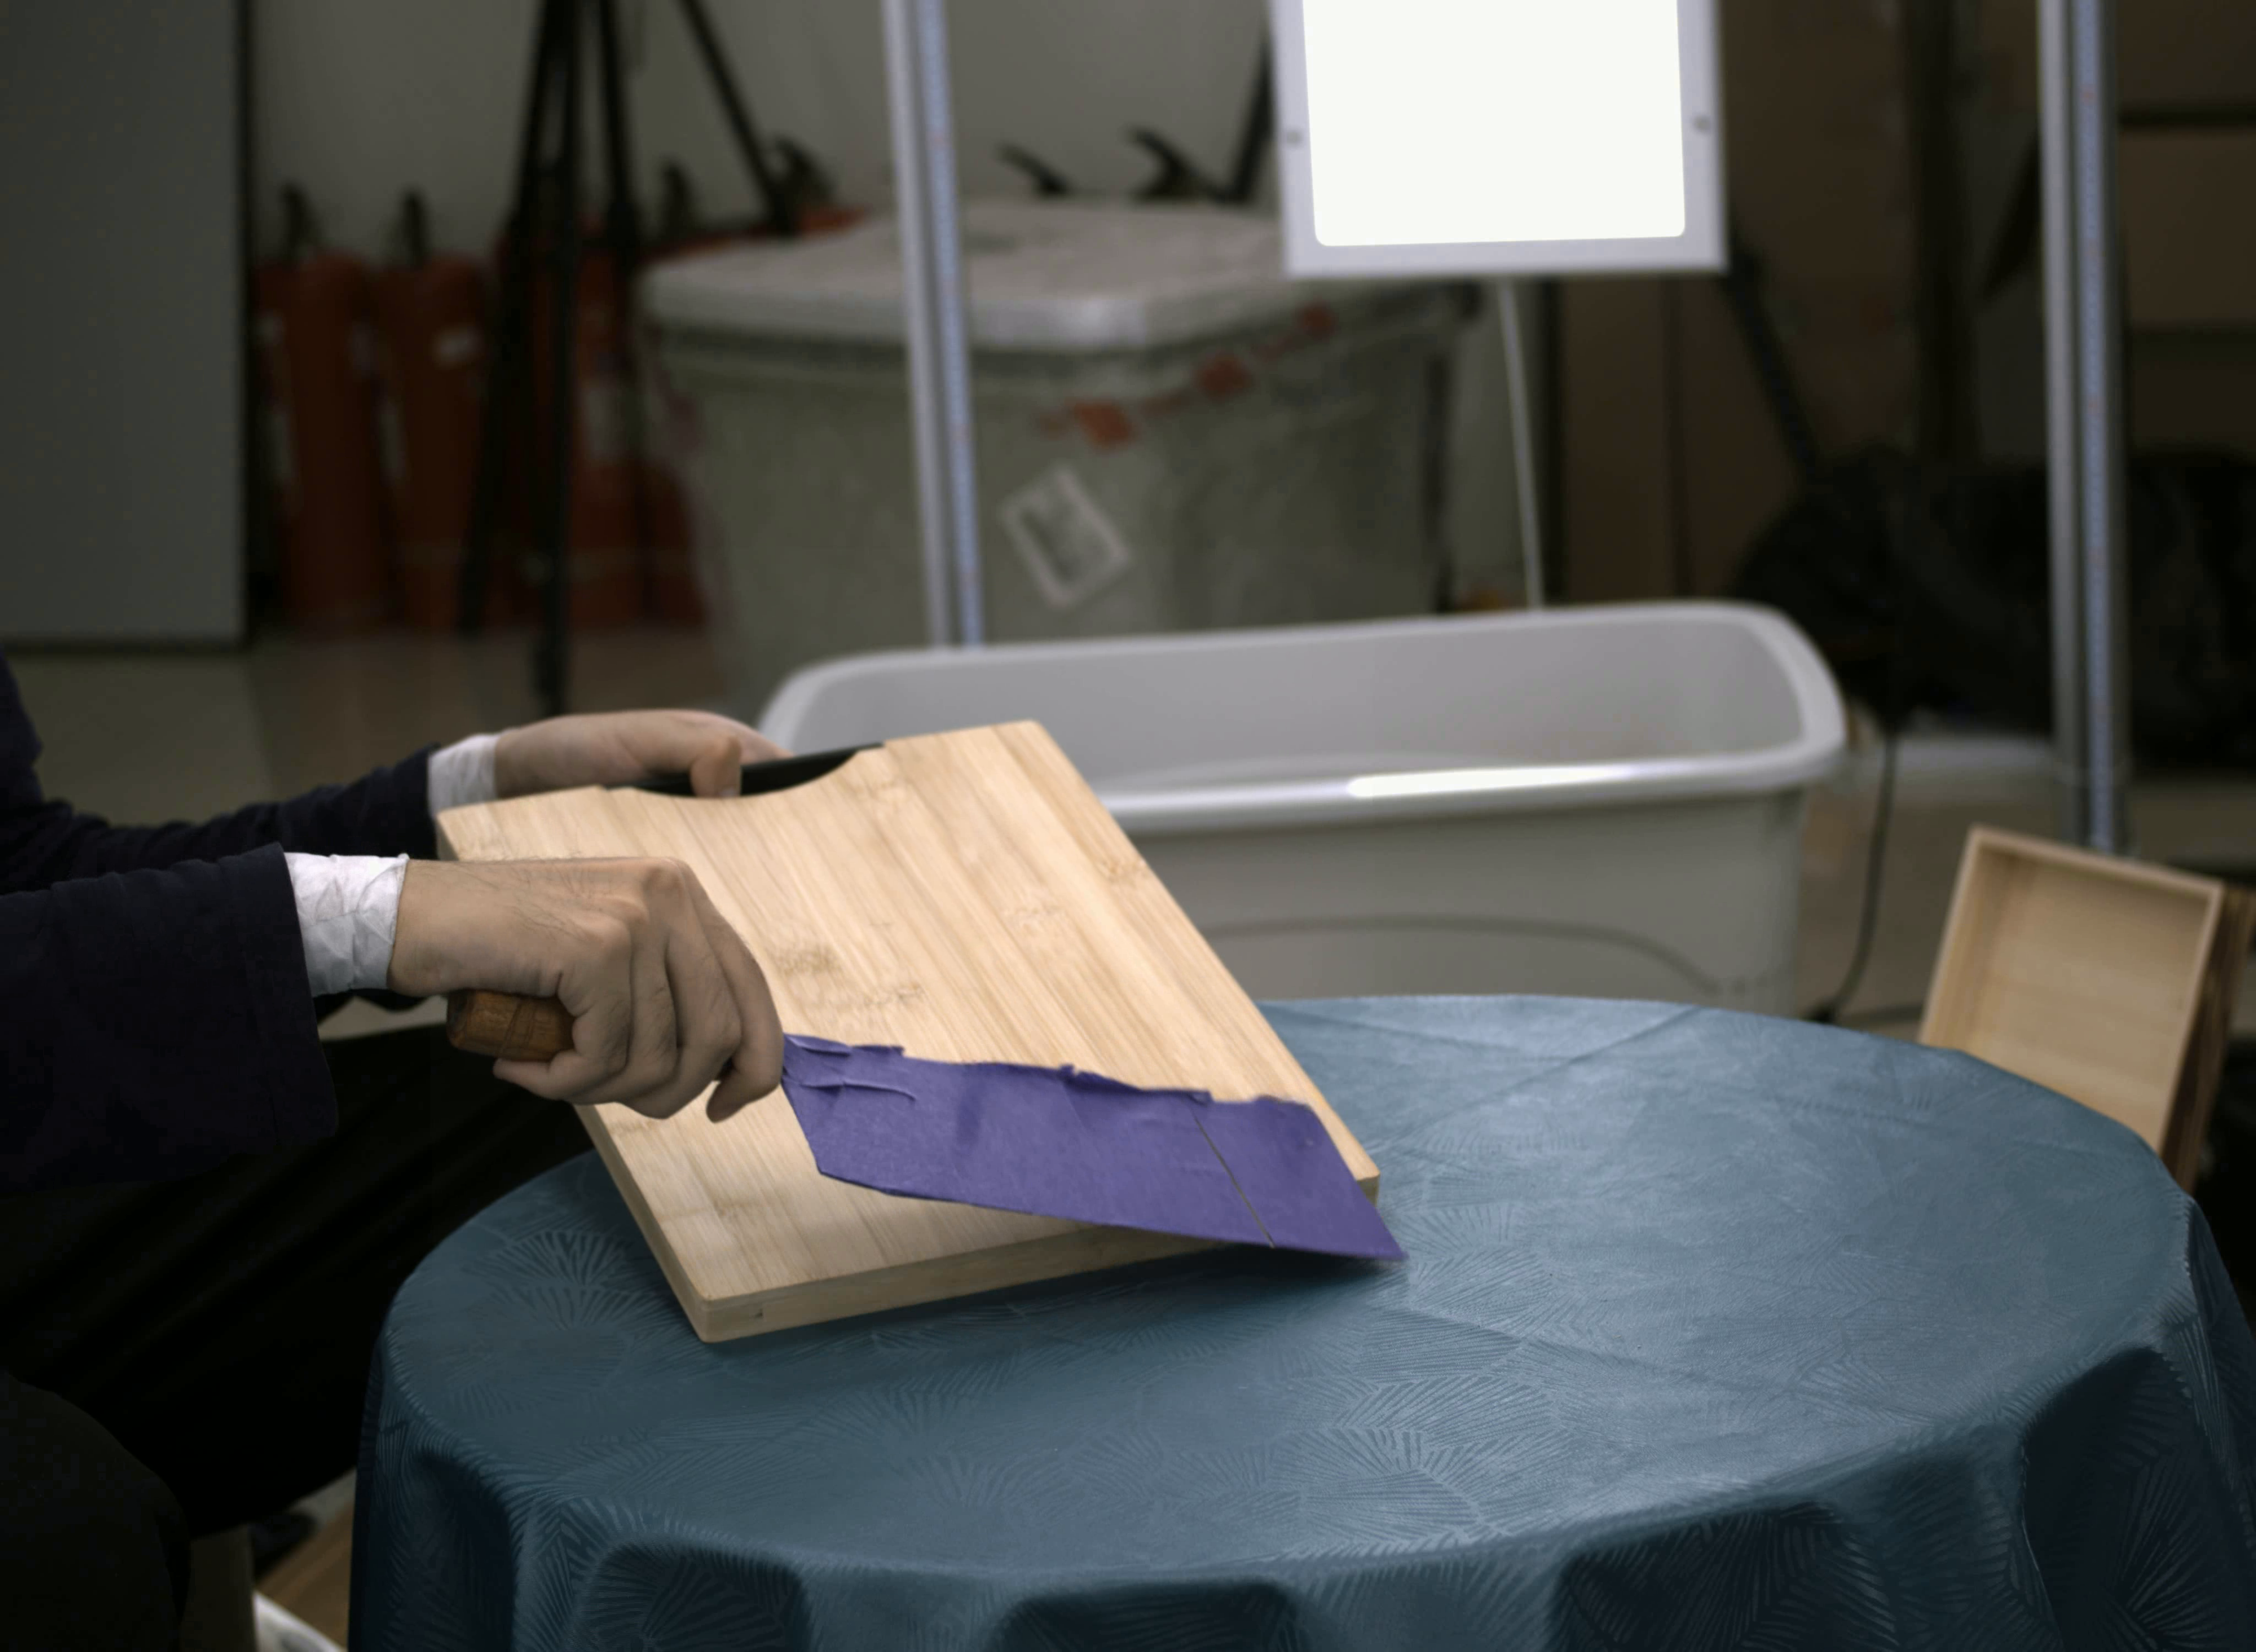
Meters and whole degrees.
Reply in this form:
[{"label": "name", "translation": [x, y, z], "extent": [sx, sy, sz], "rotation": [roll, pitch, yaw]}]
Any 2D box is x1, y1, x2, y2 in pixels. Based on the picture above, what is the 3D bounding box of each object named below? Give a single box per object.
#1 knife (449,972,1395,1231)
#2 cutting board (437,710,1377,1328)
[{"label": "knife", "translation": [-0.060, 0.091, 1.779], "extent": [0.309, 0.032, 0.105], "rotation": [7, 26, -22]}, {"label": "cutting board", "translation": [-0.087, 0.061, 1.958], "extent": [0.246, 0.024, 0.352], "rotation": [-10, 31, -18]}]
